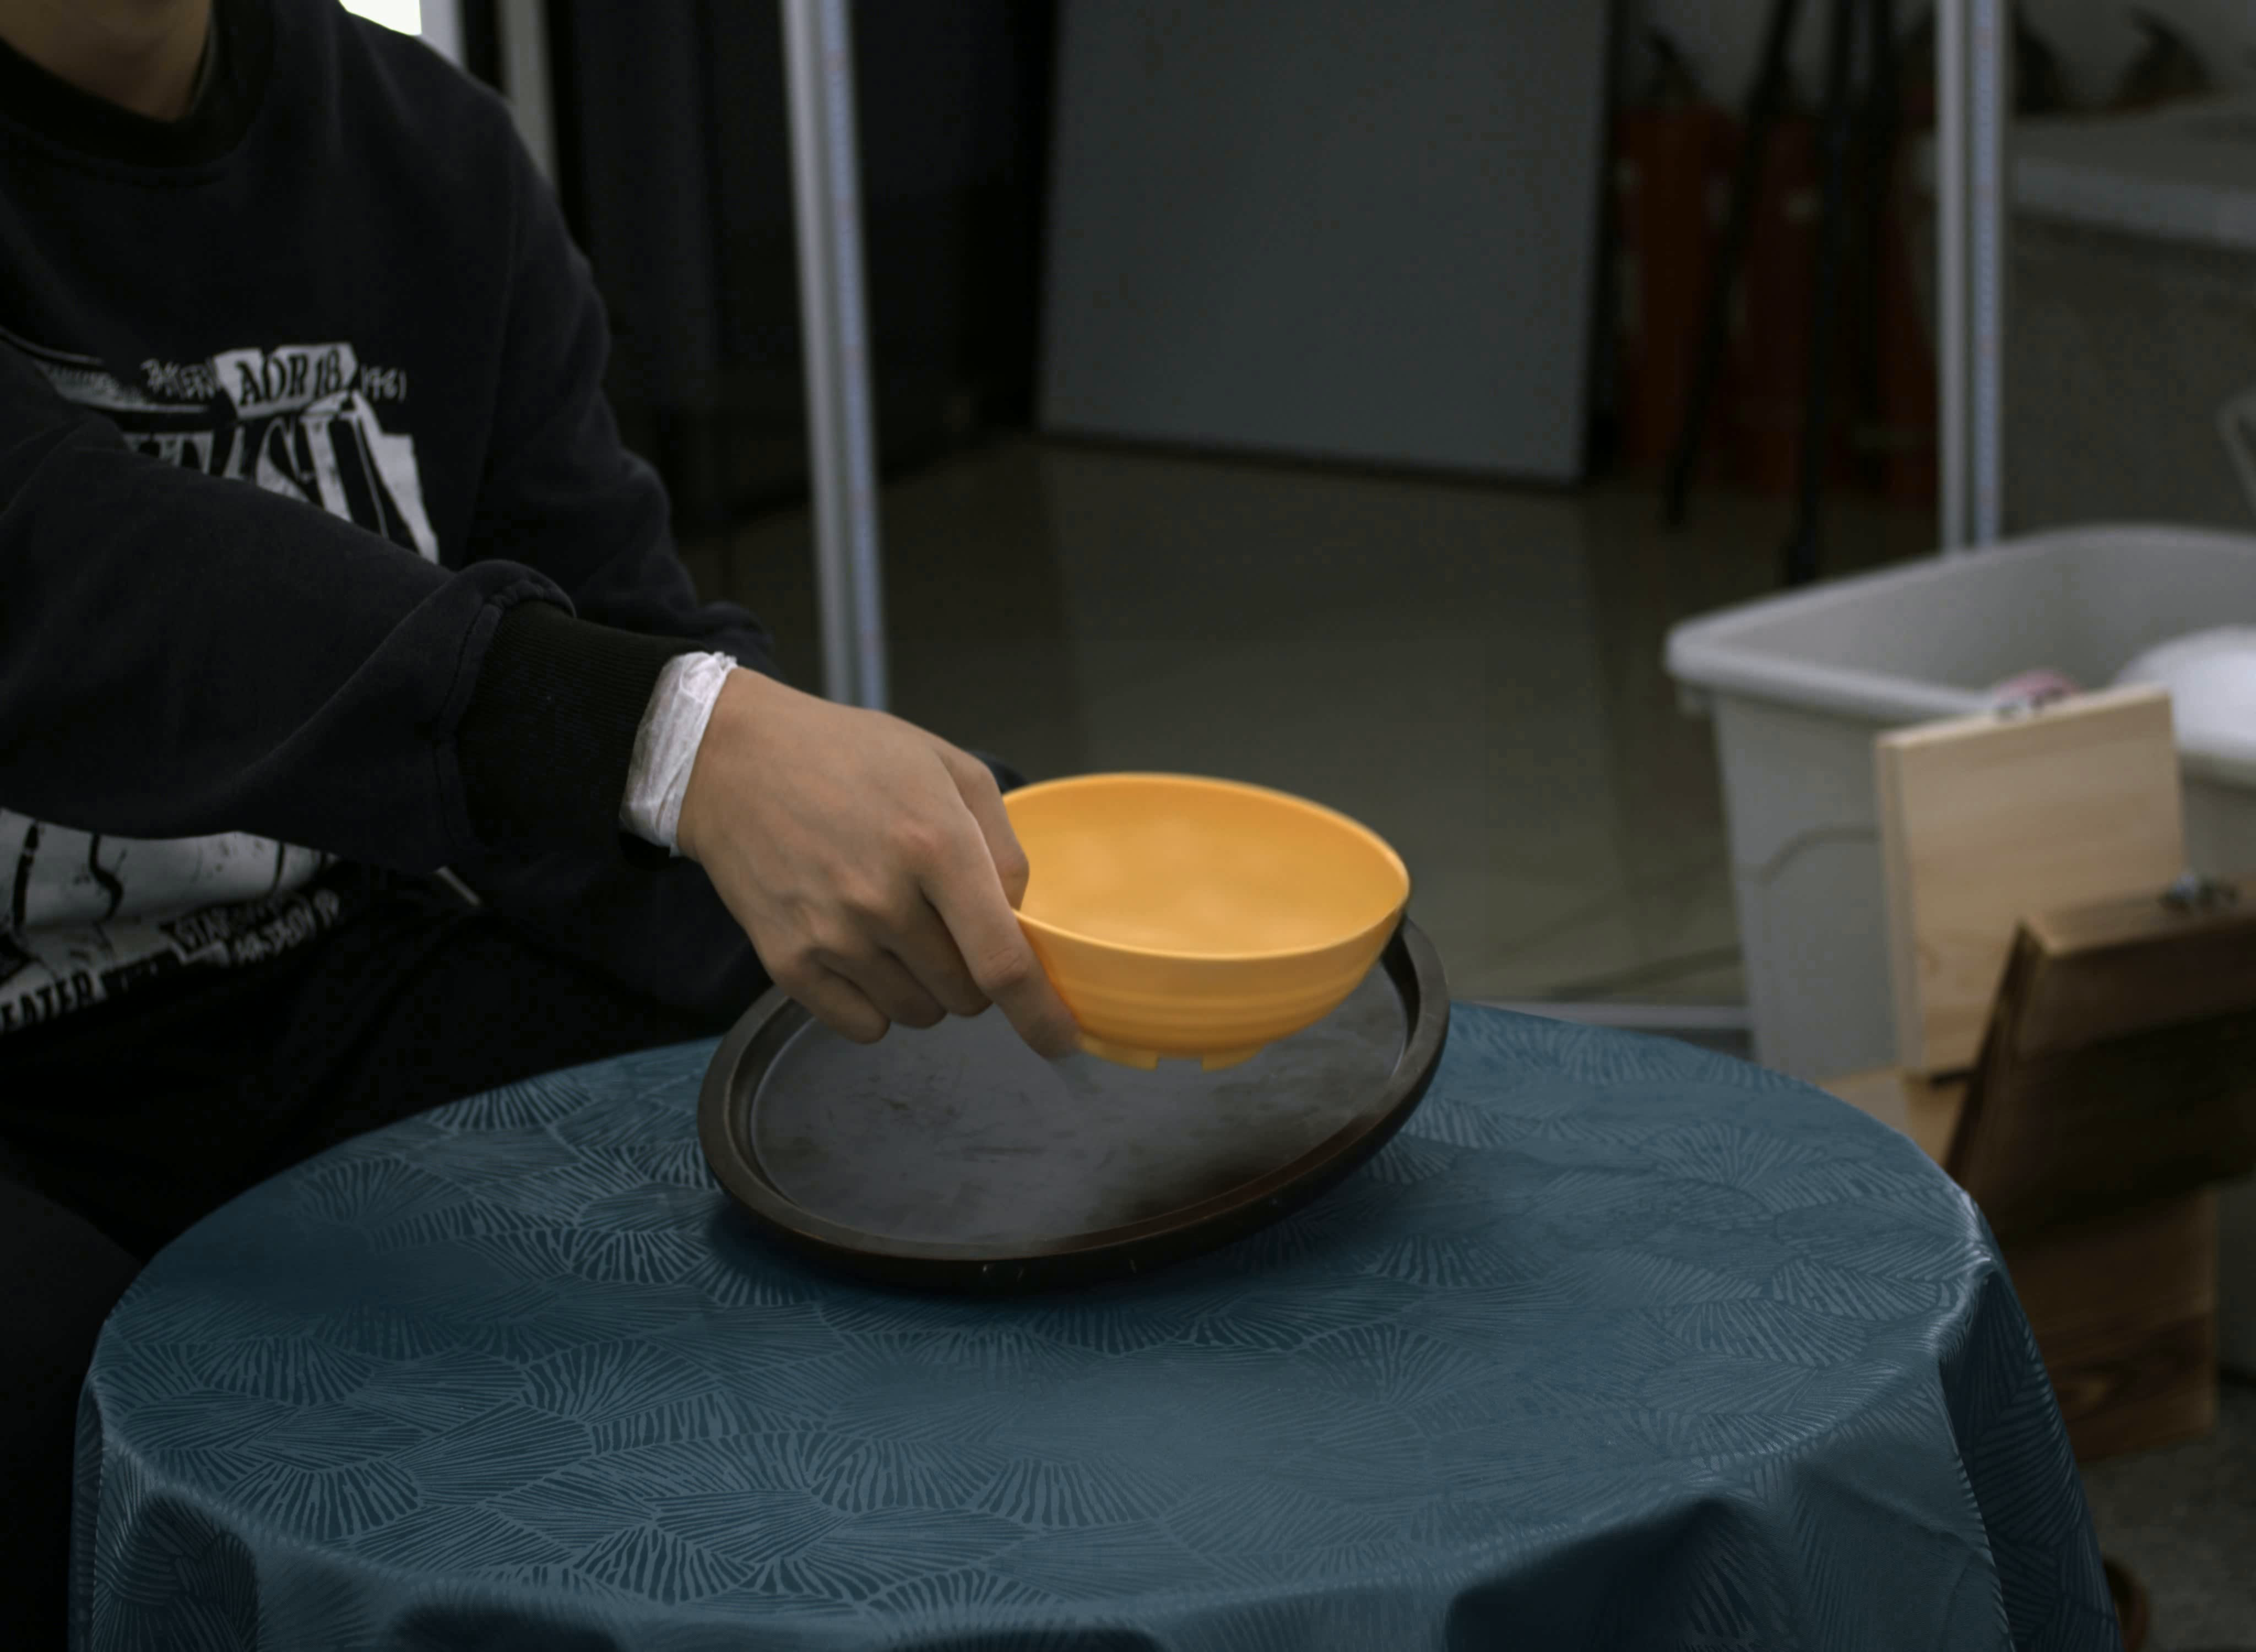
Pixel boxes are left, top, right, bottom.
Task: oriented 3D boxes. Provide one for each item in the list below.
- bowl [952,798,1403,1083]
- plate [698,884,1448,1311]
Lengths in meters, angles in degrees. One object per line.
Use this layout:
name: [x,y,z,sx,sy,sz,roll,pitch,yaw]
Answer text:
bowl: [0.014,0.041,1.691,0.143,0.061,0.145,3,19,-2]
plate: [-0.017,0.081,1.769,0.252,0.029,0.256,-12,29,6]
